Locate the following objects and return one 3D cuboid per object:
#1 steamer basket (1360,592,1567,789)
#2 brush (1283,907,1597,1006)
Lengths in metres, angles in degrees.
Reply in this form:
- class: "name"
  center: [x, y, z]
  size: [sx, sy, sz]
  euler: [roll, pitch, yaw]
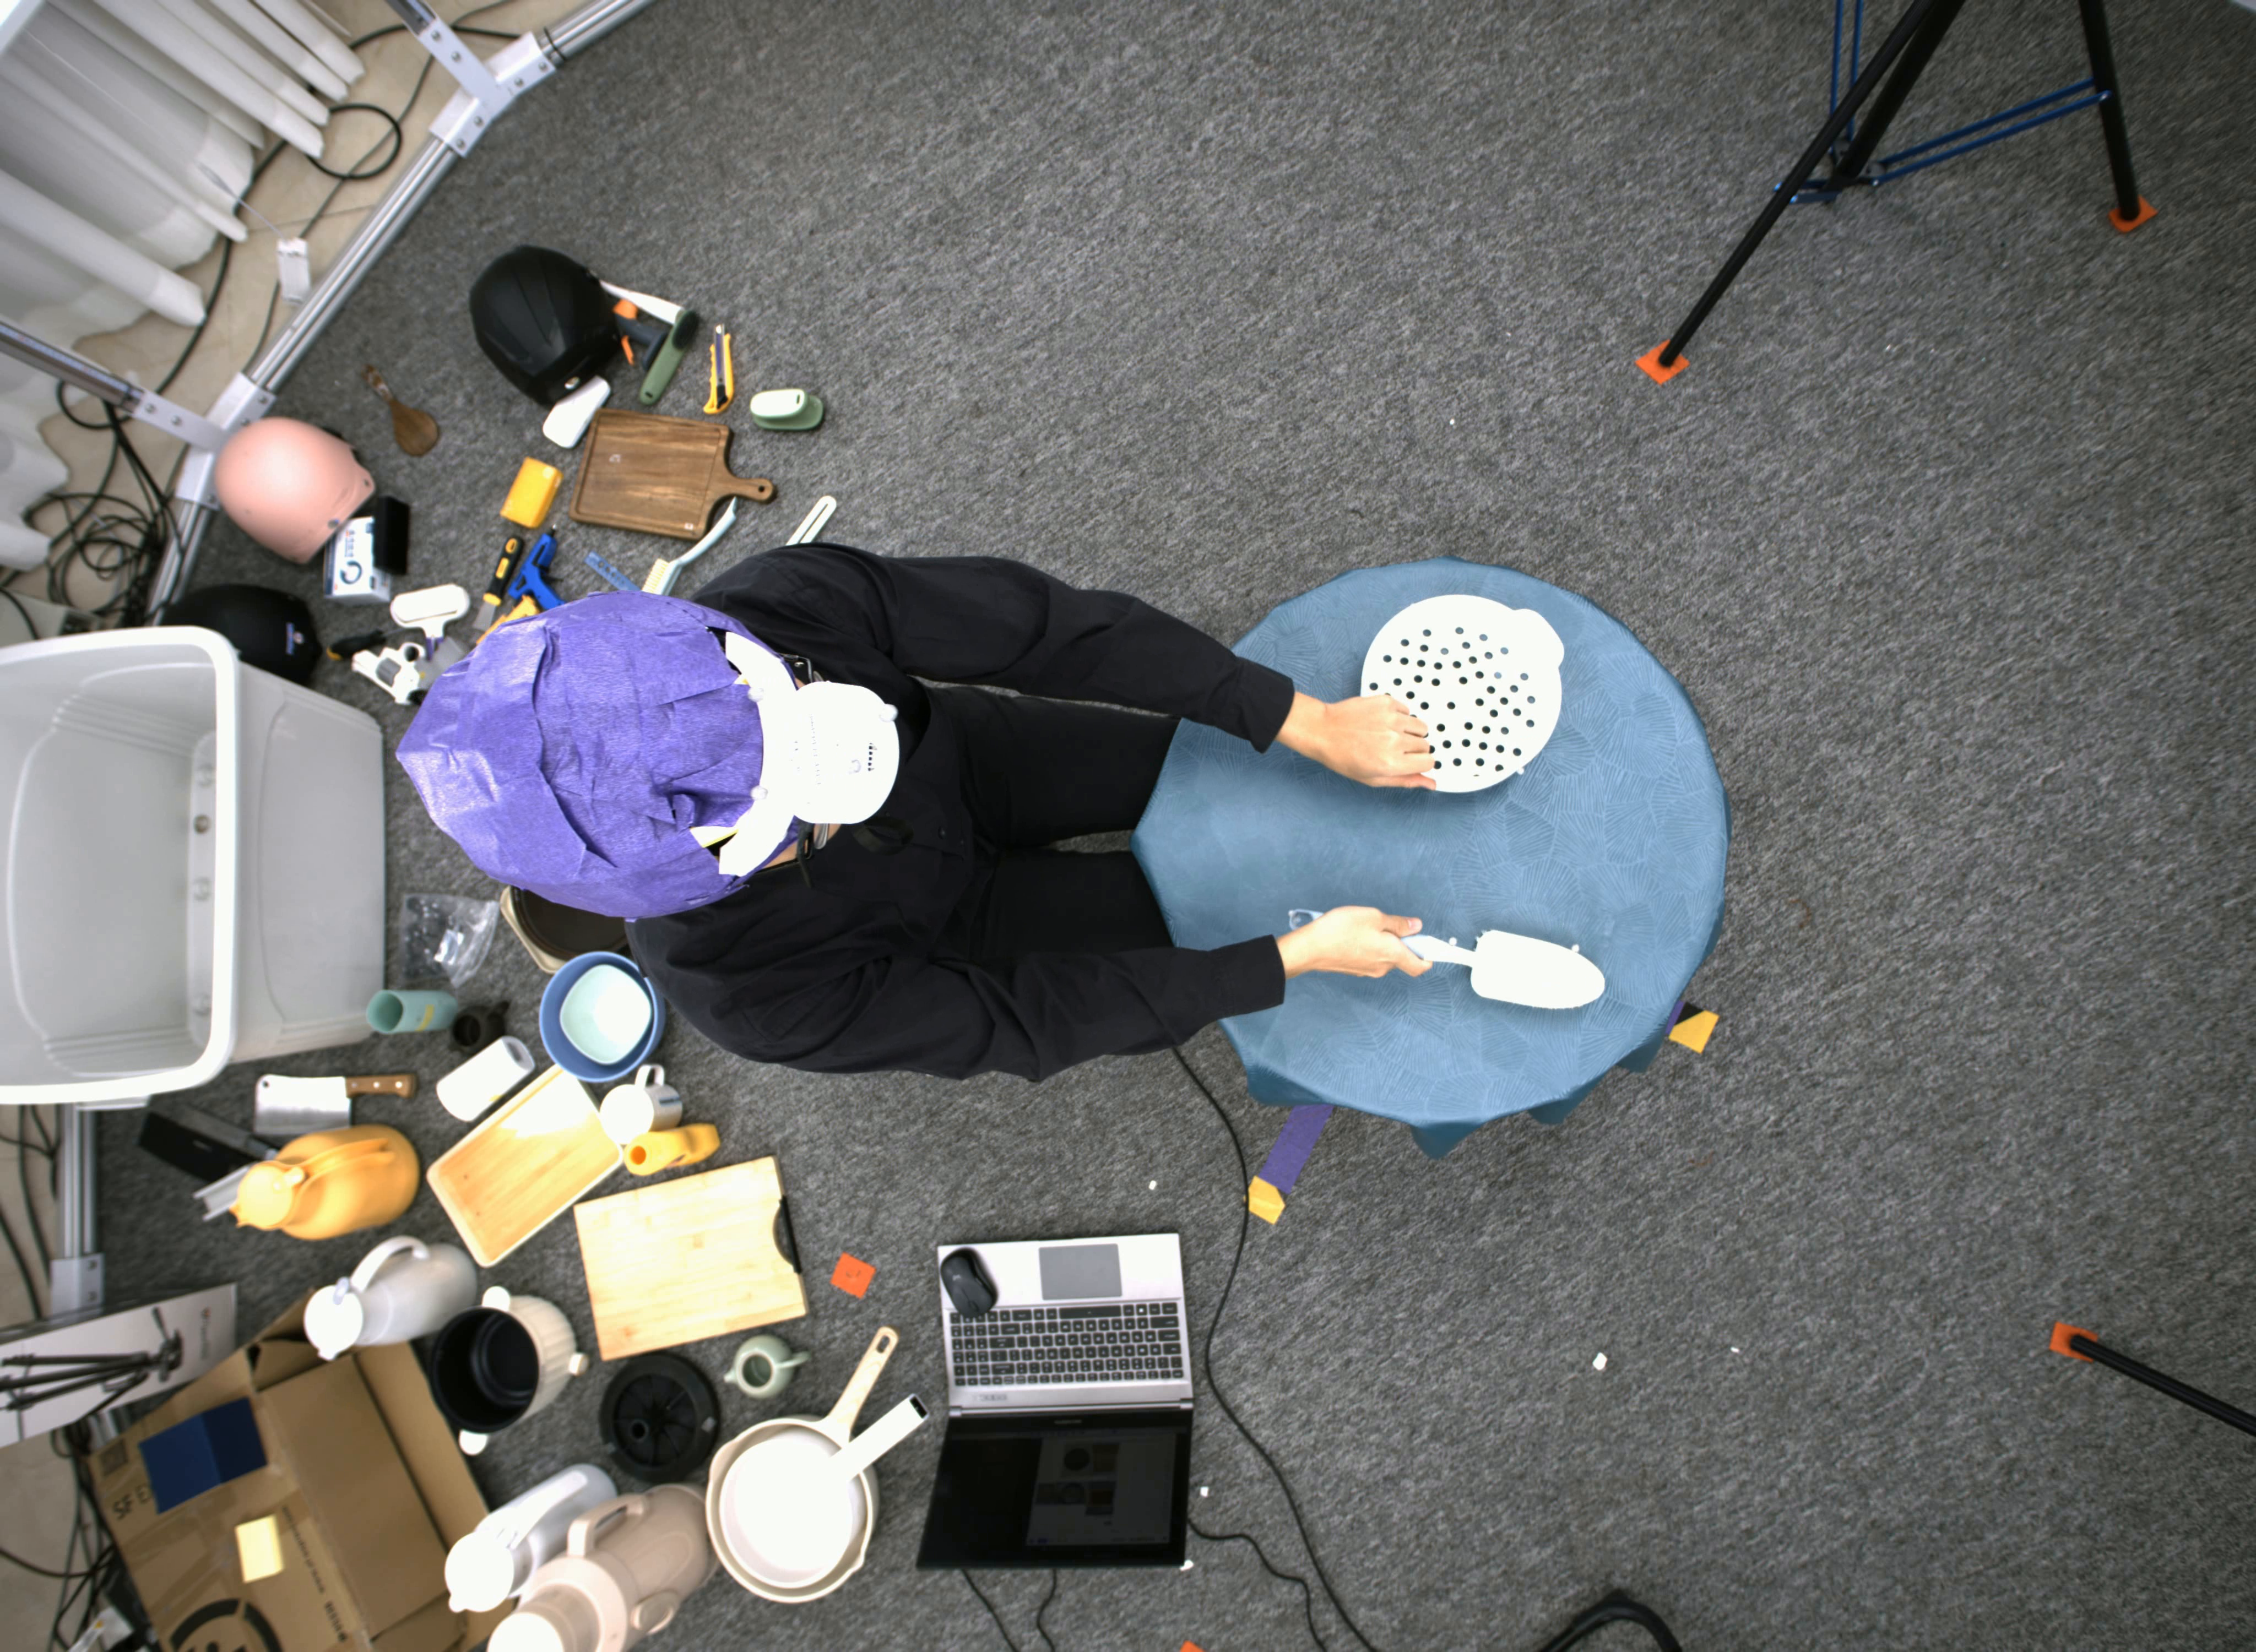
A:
- class: "steamer basket"
  center: [0.342, -0.139, 1.413]
  size: [0.230, 0.070, 0.200]
  euler: [-33, 79, -2]
- class: "brush"
  center: [0.316, 0.121, 1.408]
  size: [0.326, 0.087, 0.081]
  euler: [12, 51, 2]
